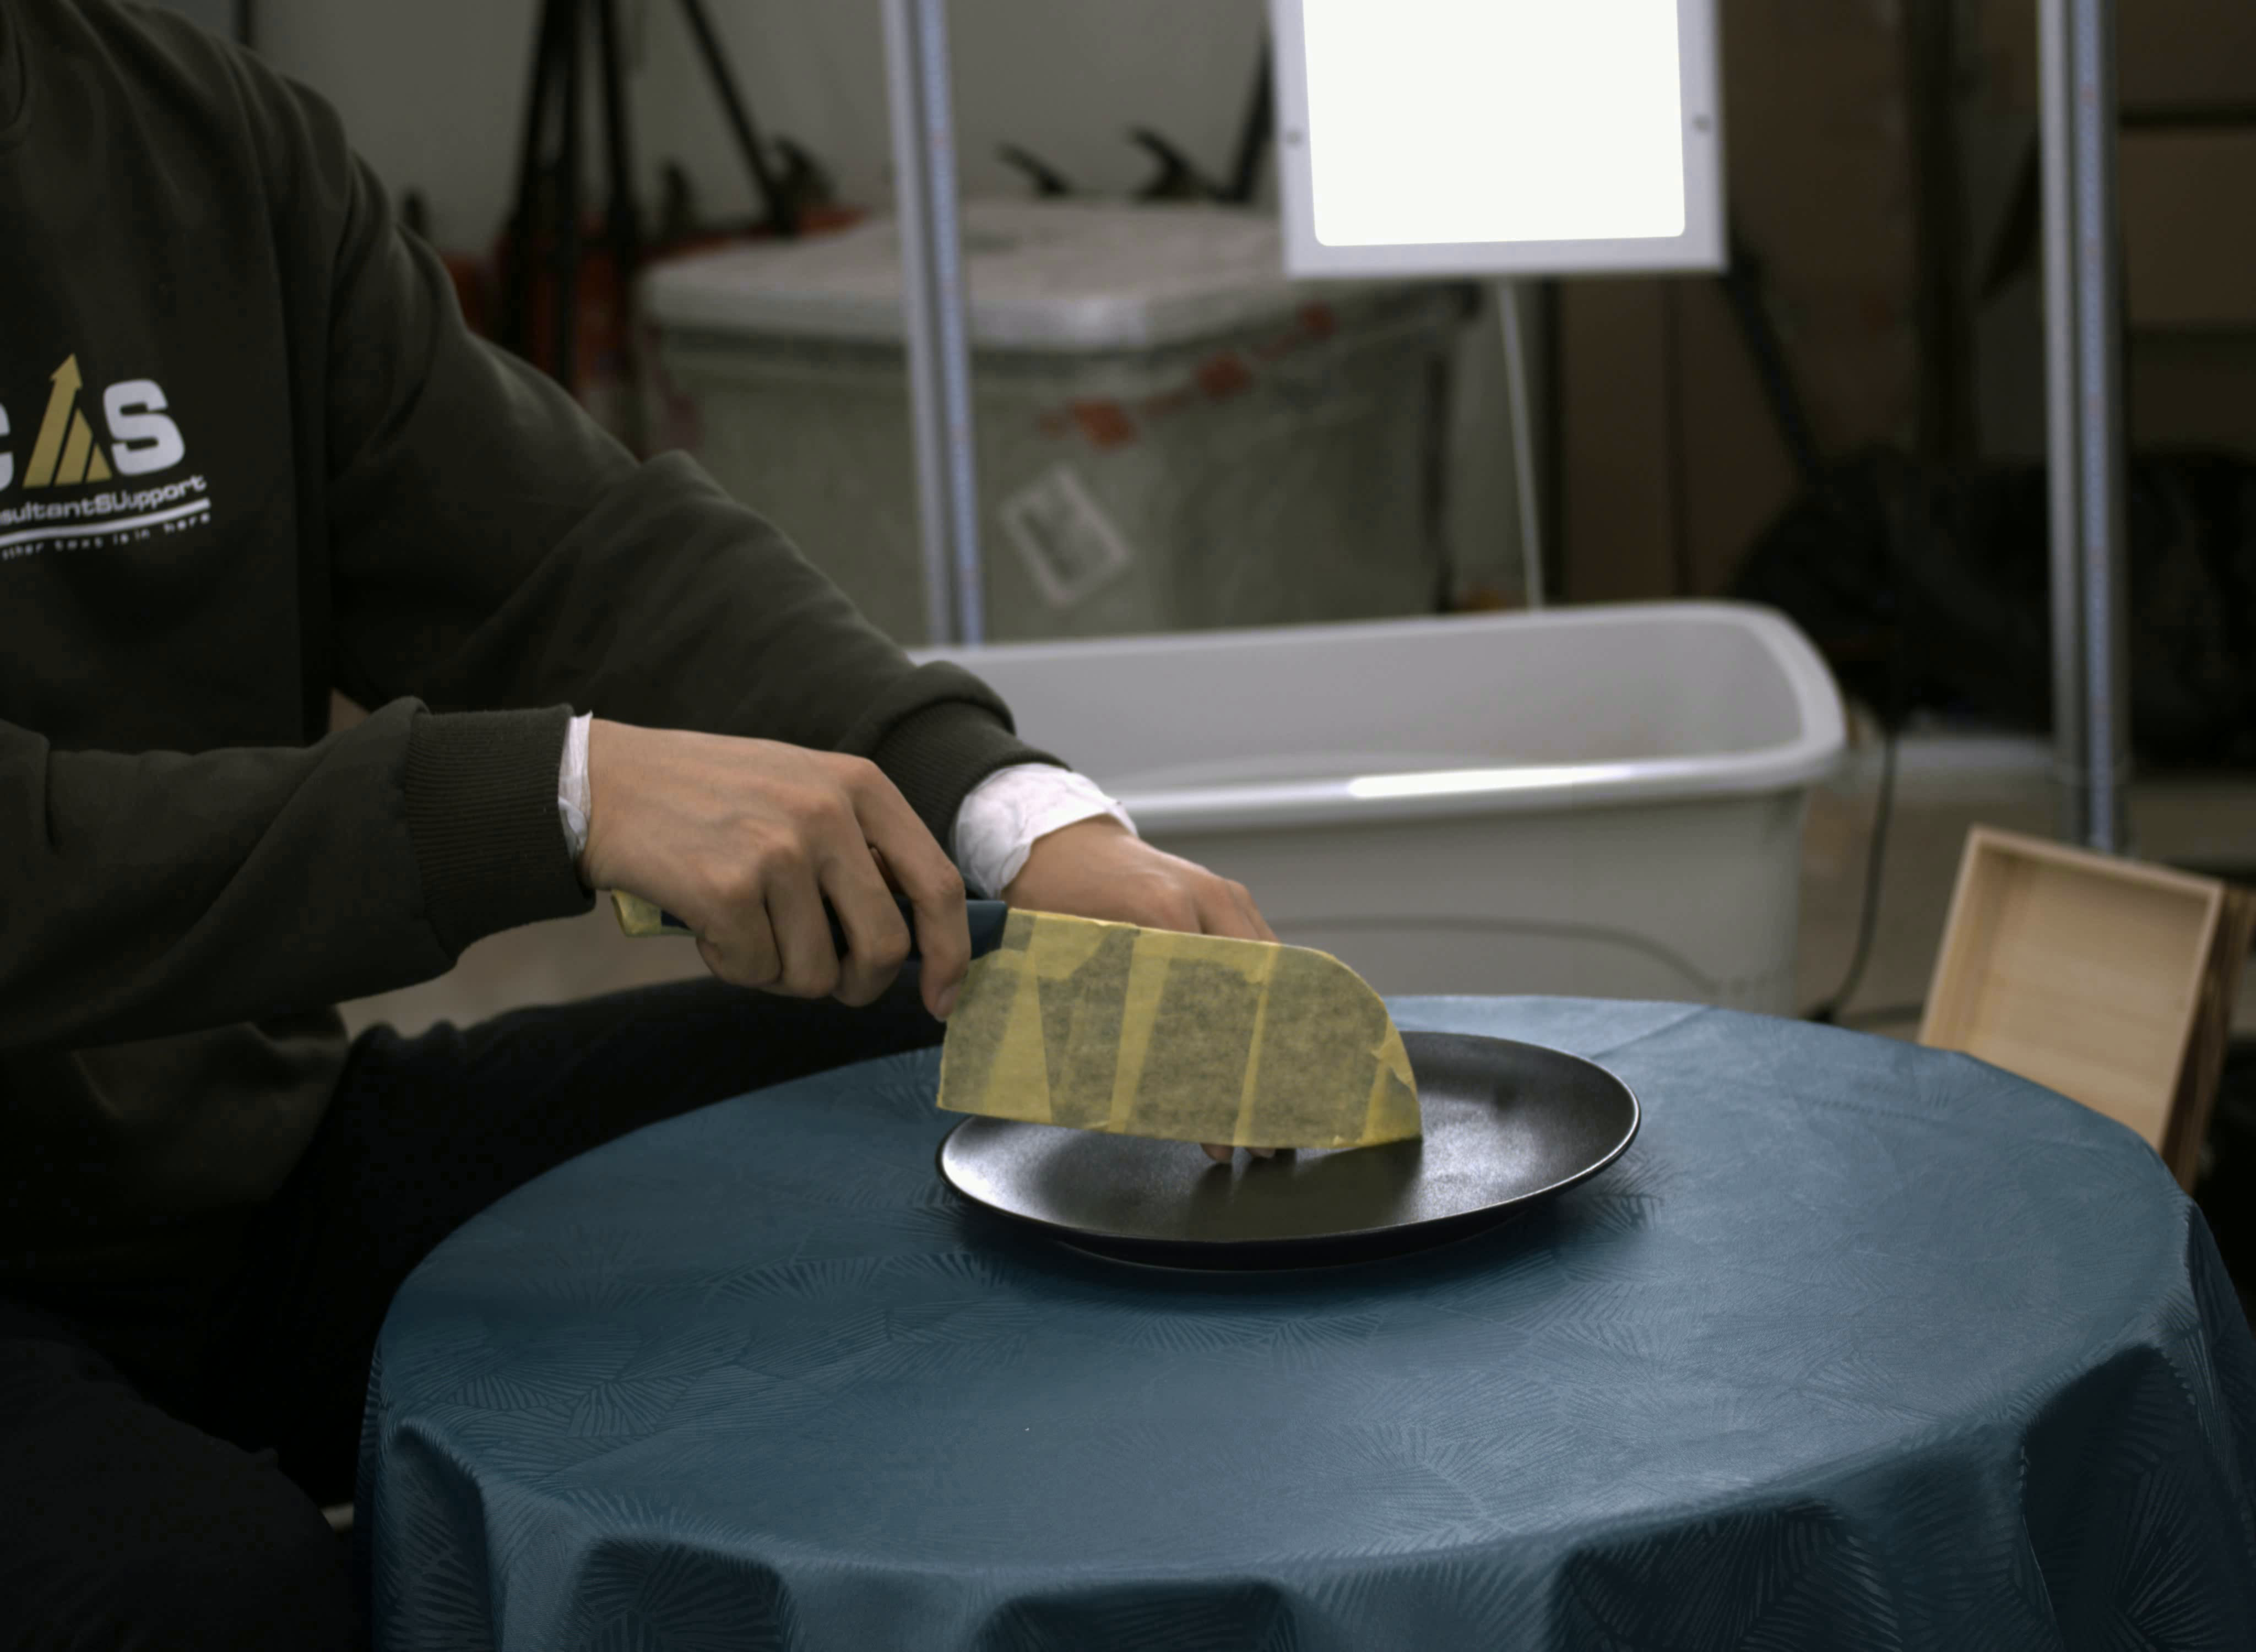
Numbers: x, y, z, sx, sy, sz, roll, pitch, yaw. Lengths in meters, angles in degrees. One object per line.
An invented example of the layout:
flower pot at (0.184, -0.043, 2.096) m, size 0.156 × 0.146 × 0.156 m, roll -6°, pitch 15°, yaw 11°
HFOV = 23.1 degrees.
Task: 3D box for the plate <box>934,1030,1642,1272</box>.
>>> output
plate at (0.056, 0.114, 1.886) m, size 0.244 × 0.023 × 0.244 m, roll -5°, pitch 13°, yaw 0°

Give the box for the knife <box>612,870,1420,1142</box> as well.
knife at (-0.037, 0.061, 1.875) m, size 0.286 × 0.081 × 0.027 m, roll 11°, pitch 5°, yaw -9°
